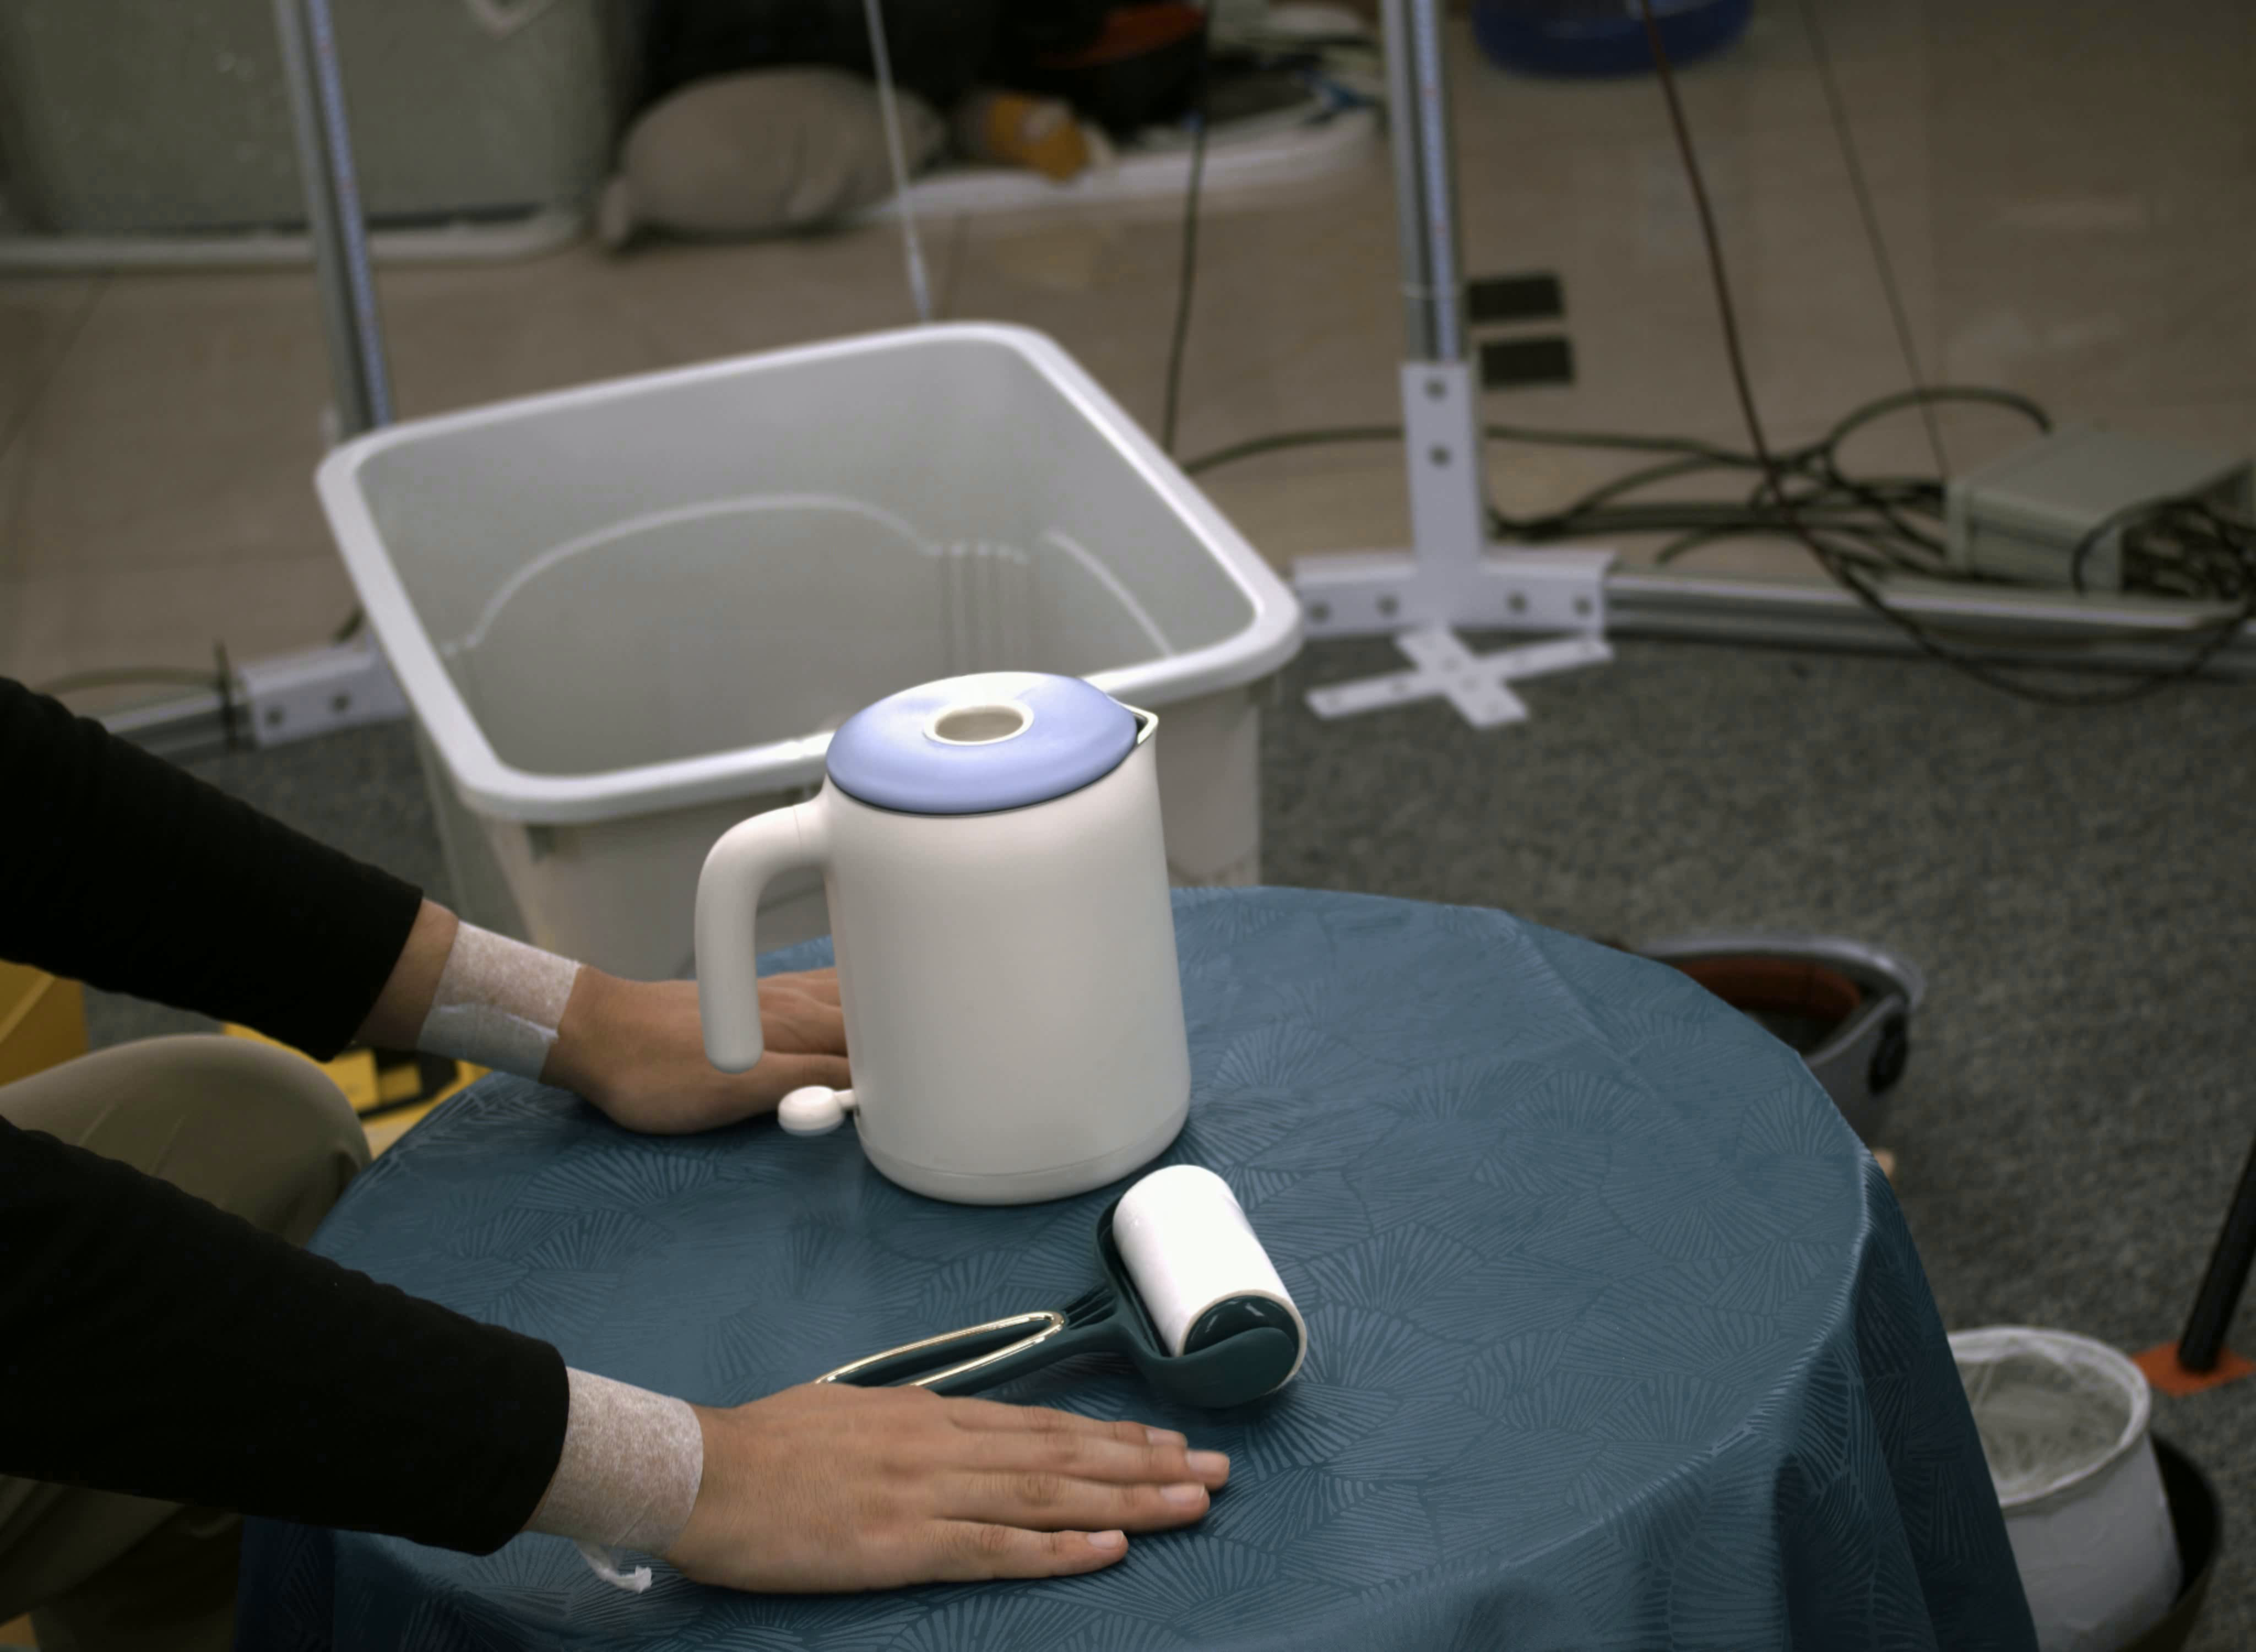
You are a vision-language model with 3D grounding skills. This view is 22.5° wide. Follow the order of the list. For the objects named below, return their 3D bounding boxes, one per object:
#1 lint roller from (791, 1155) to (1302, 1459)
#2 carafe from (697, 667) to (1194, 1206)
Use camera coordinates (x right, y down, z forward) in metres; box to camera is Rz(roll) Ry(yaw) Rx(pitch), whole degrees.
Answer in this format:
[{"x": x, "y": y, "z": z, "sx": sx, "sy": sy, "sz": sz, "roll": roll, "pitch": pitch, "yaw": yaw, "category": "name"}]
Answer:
[{"x": -0.037, "y": 0.180, "z": 2.020, "sx": 0.179, "sy": 0.049, "sz": 0.132, "roll": -14, "pitch": 26, "yaw": -8, "category": "lint roller"}, {"x": -0.071, "y": 0.047, "z": 2.157, "sx": 0.190, "sy": 0.185, "sz": 0.130, "roll": -13, "pitch": 26, "yaw": -8, "category": "carafe"}]
